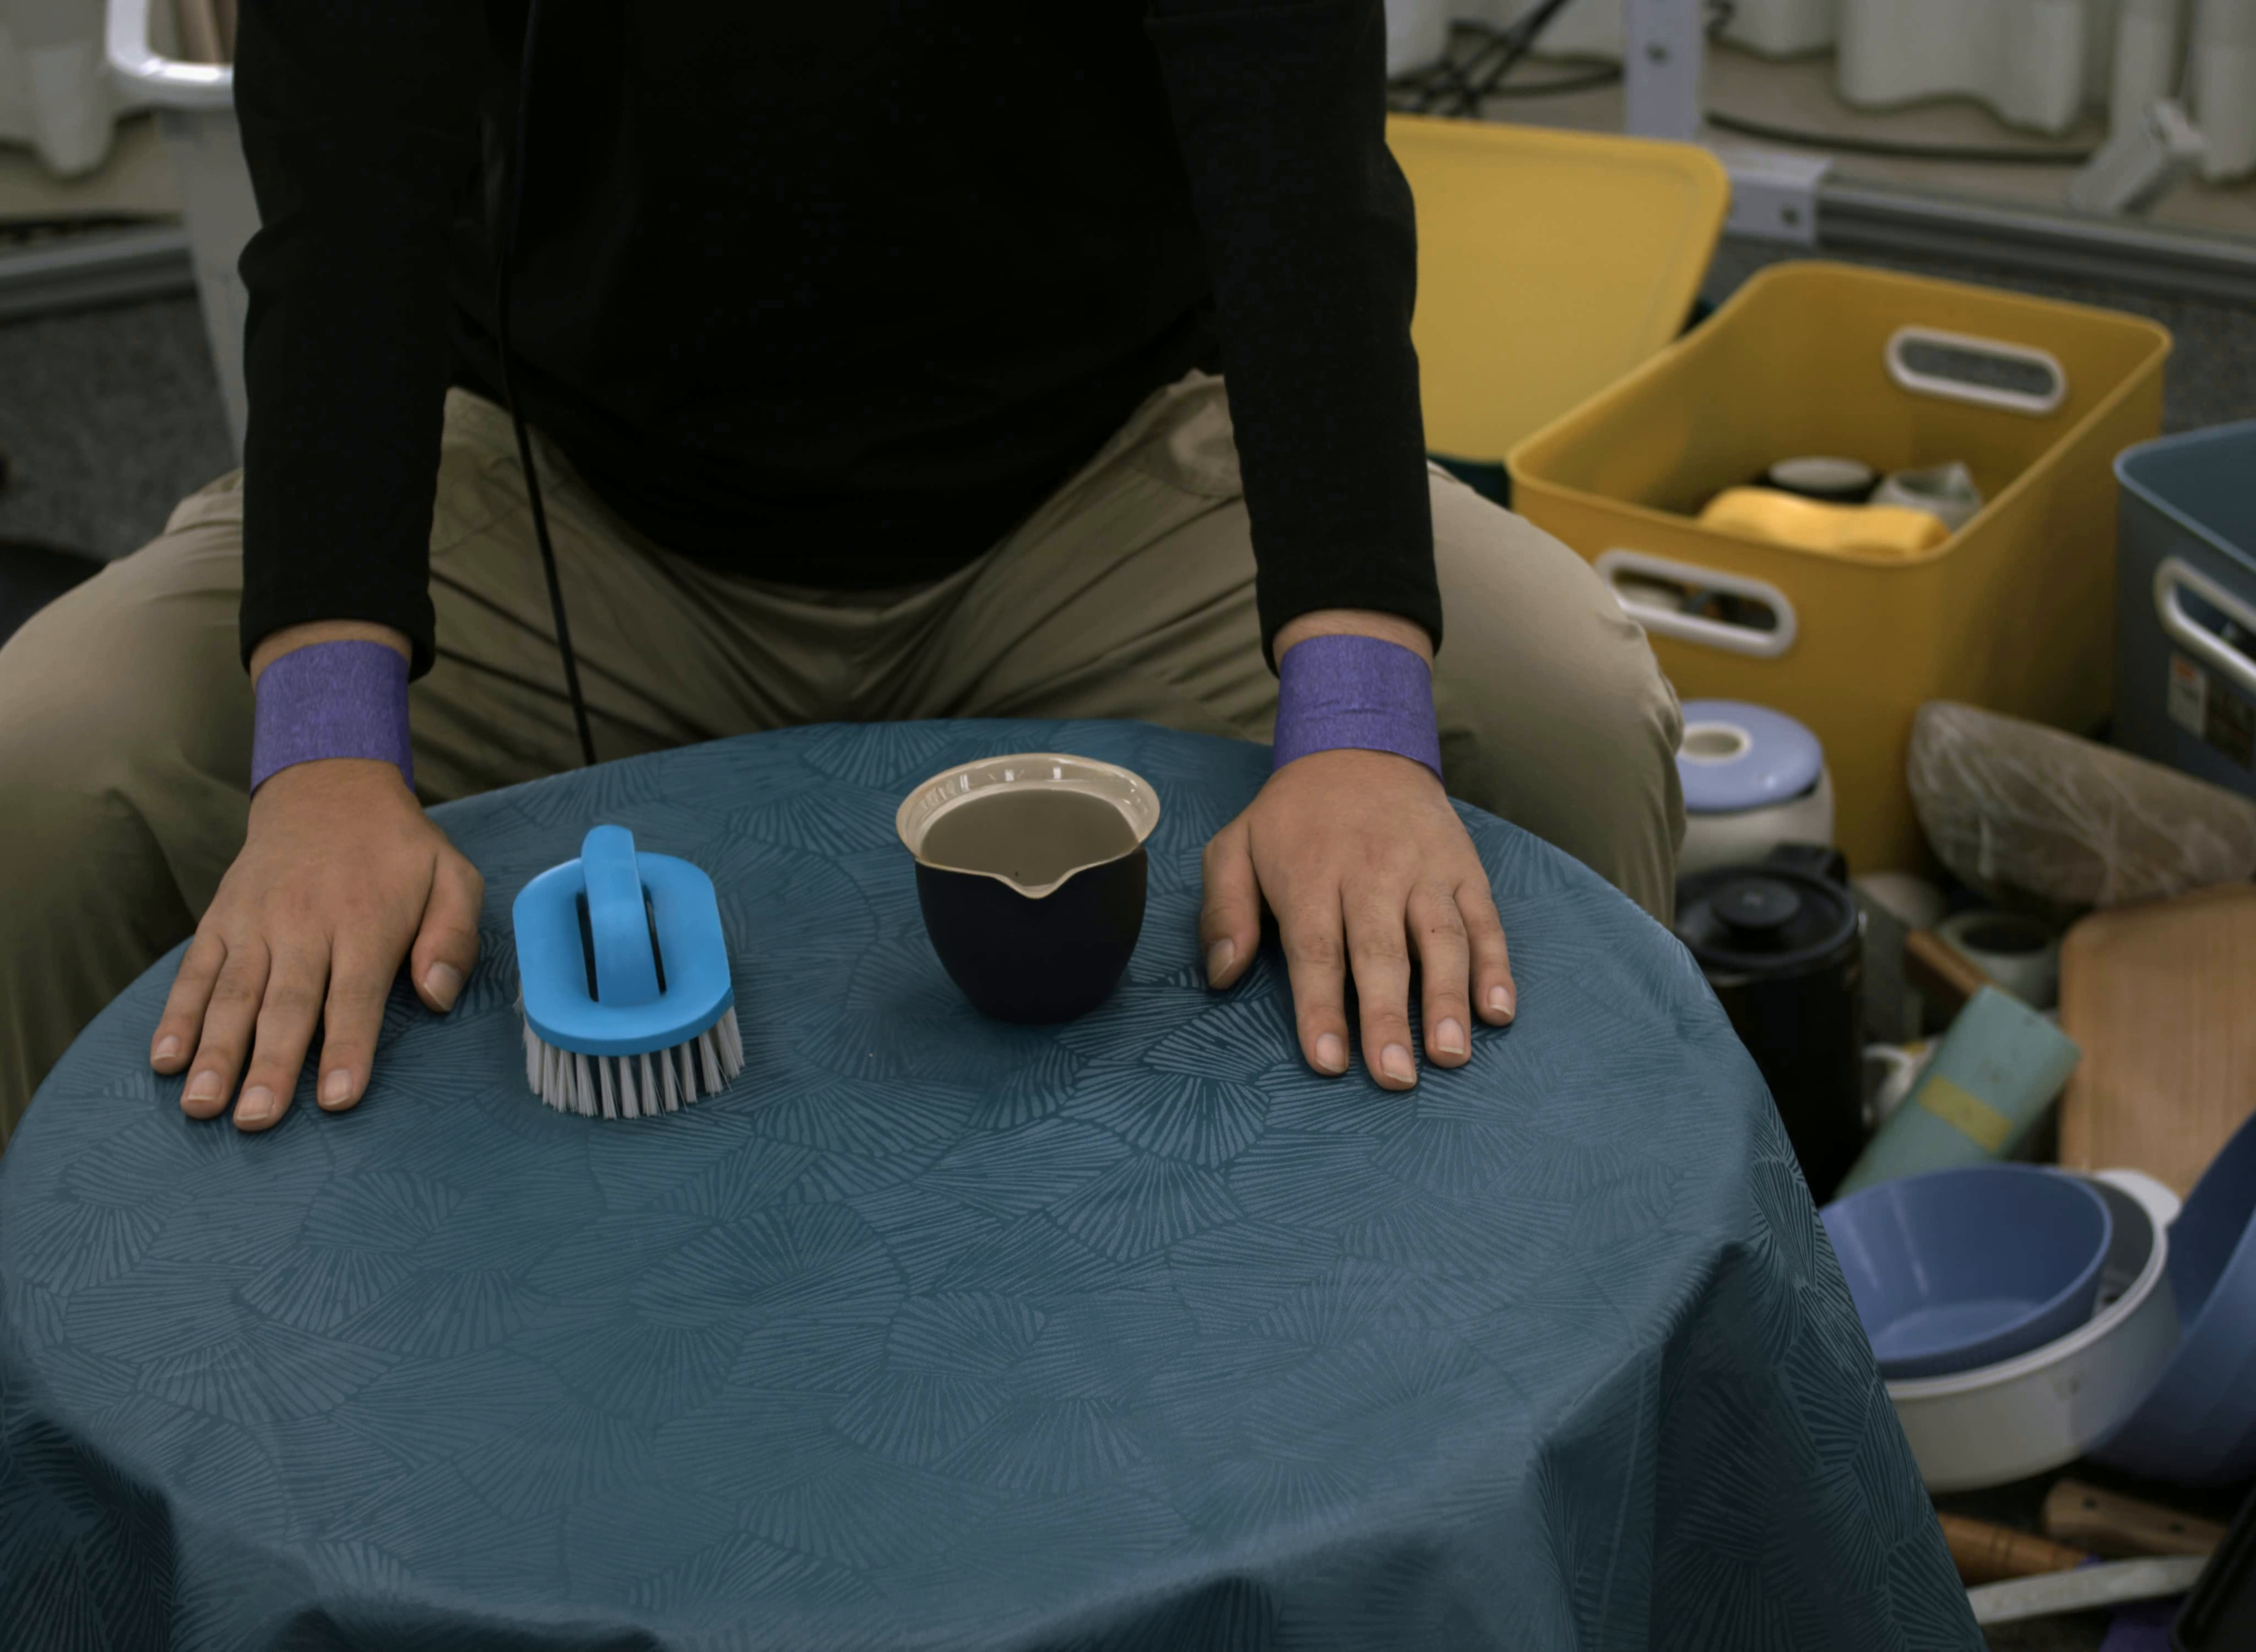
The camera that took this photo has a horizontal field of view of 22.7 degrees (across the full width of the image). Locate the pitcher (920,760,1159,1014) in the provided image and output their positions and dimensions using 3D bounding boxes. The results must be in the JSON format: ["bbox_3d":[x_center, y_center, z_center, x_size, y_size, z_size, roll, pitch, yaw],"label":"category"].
[{"bbox_3d":[-0.030,0.026,1.969,0.083,0.070,0.097,-1,28,2],"label":"pitcher"}]

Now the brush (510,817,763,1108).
[{"bbox_3d":[-0.176,0.039,1.967,0.084,0.063,0.143,-10,27,-4],"label":"brush"}]
